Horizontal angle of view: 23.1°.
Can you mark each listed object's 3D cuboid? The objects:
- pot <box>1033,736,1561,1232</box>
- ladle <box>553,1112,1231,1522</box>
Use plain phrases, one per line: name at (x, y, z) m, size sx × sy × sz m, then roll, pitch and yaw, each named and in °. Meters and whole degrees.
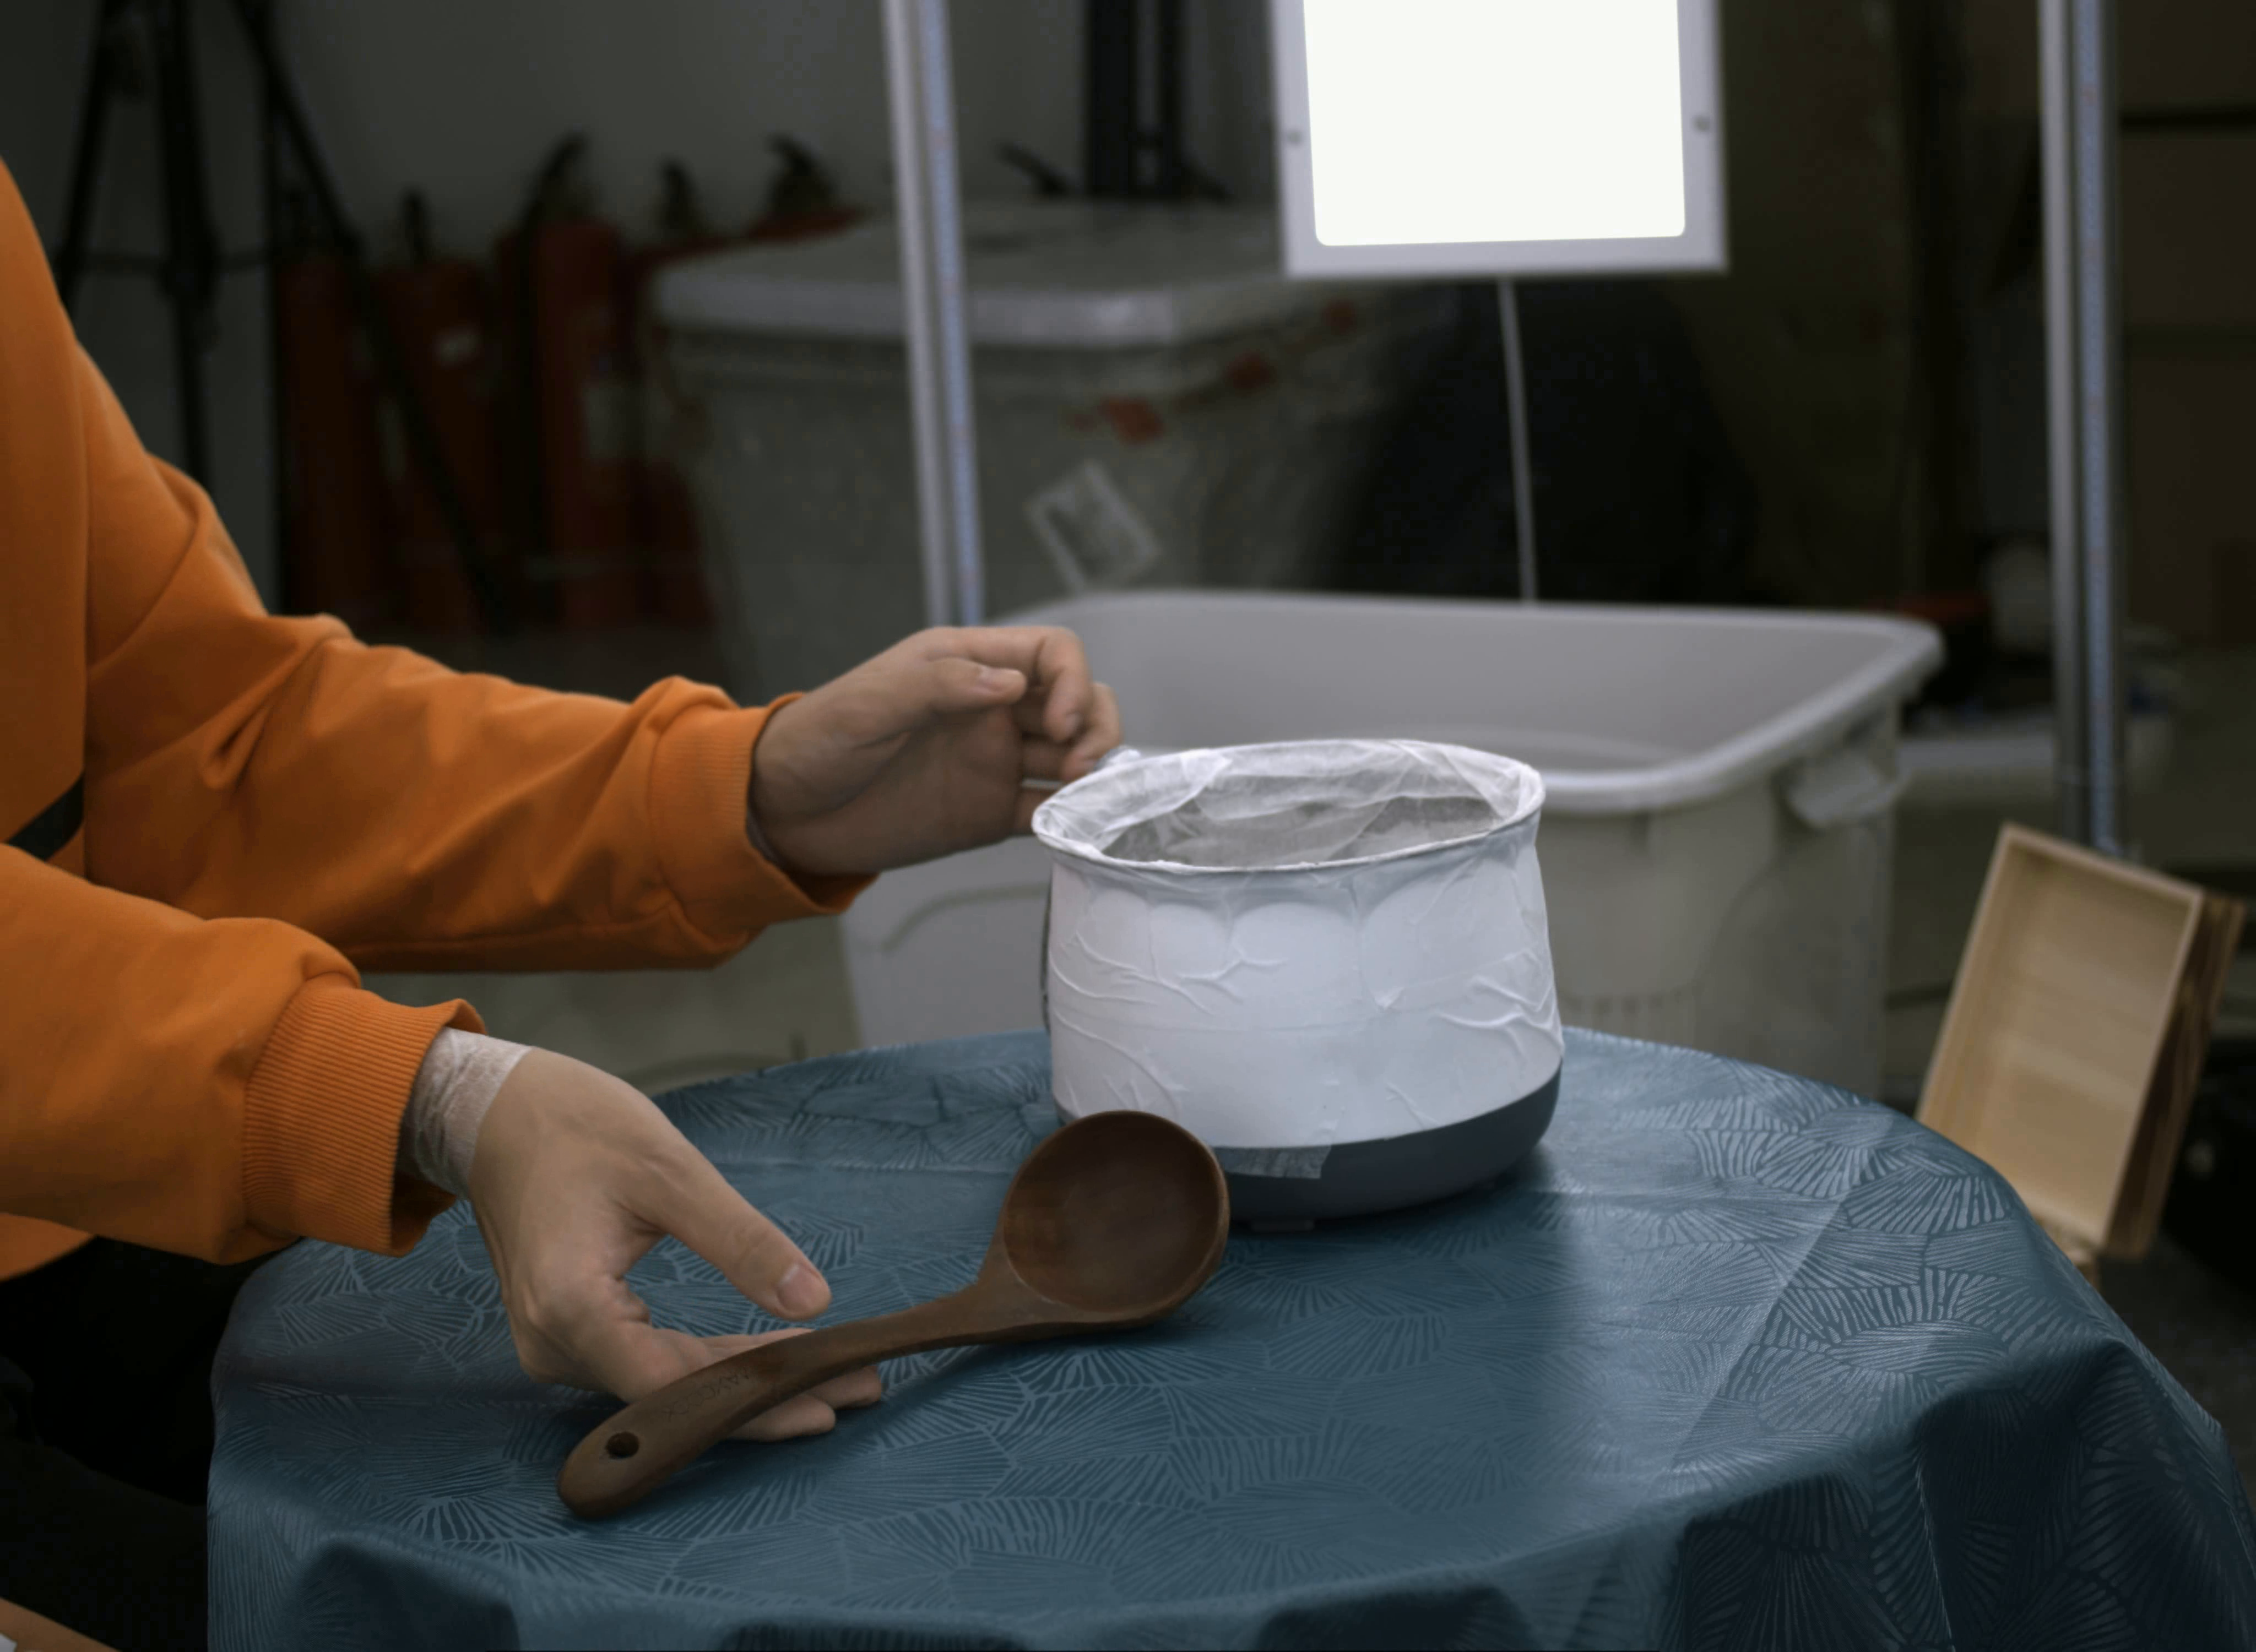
pot at (0.043, 0.048, 1.912) m, size 0.174 × 0.137 × 0.238 m, roll -14°, pitch 16°, yaw -33°
ladle at (-0.071, 0.150, 1.702) m, size 0.253 × 0.066 × 0.077 m, roll -17°, pitch 42°, yaw -42°
